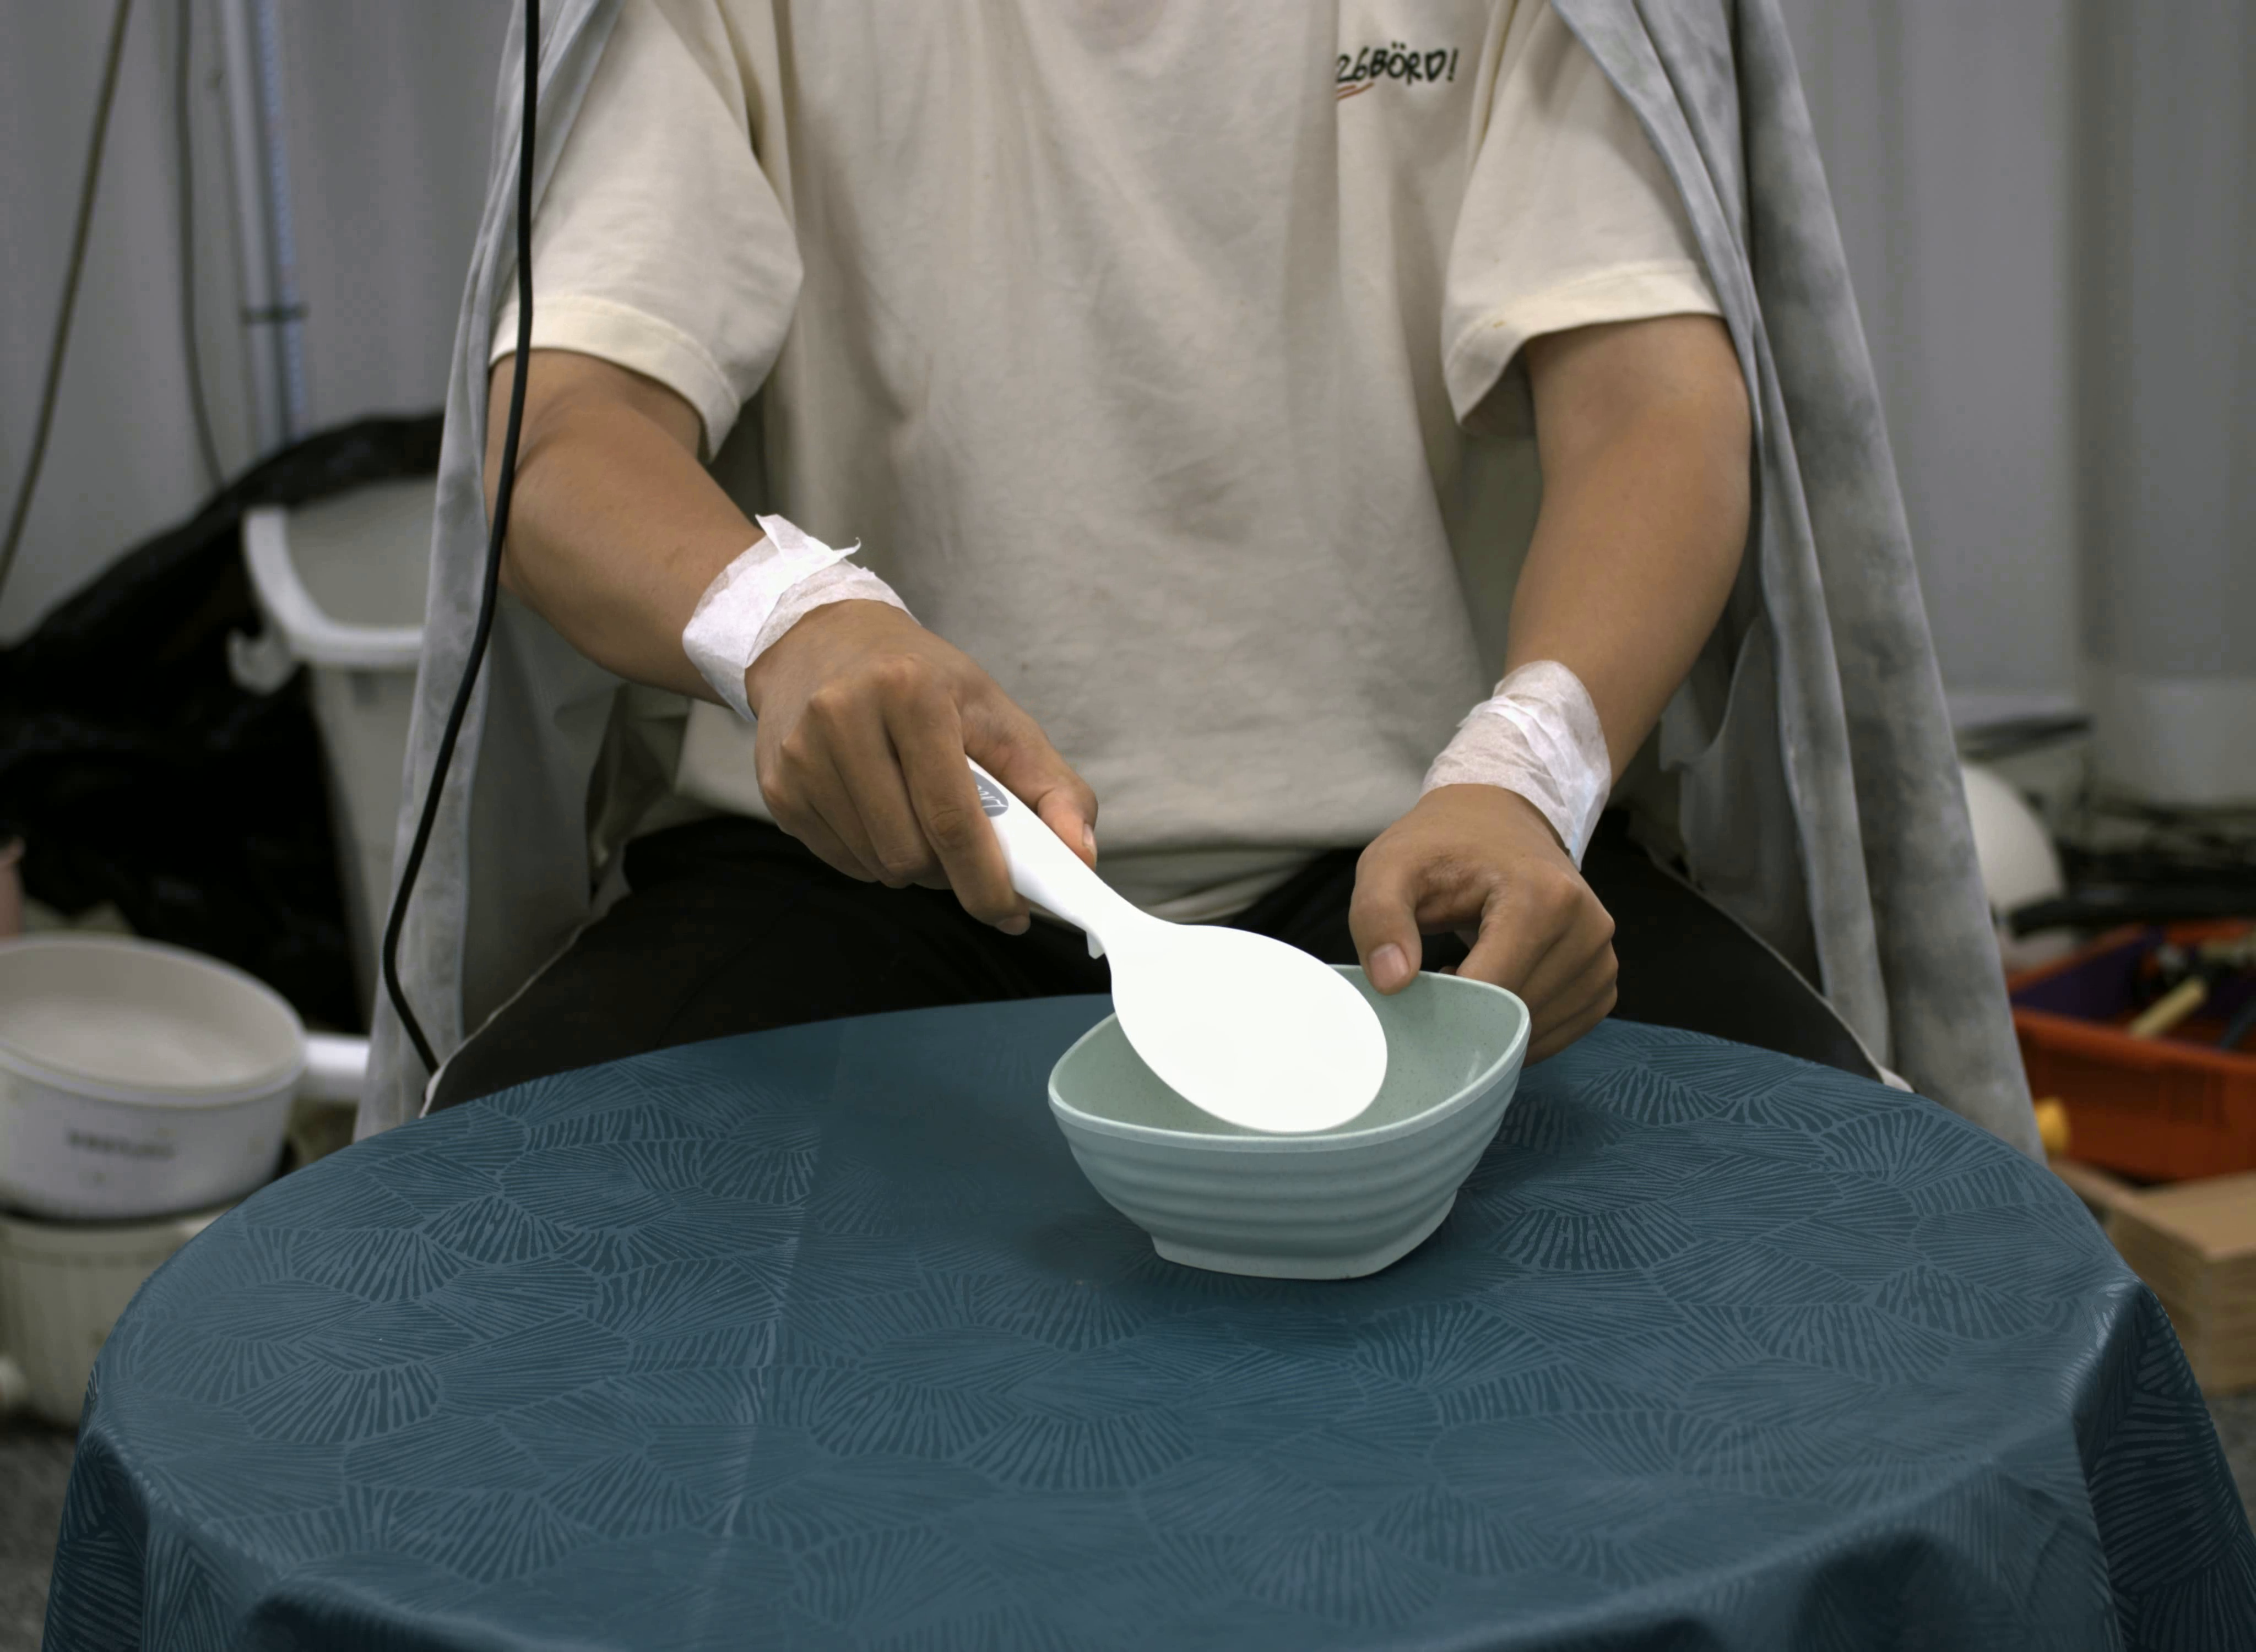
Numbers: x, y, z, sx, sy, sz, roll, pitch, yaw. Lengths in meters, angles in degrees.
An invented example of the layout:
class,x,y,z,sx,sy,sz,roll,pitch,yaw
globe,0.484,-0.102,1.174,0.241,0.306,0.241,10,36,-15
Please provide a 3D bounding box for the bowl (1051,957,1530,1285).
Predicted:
class,x,y,z,sx,sy,sz,roll,pitch,yaw
bowl,0.053,0.094,1.662,0.151,0.058,0.153,-7,21,2

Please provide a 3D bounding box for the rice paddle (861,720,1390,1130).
class,x,y,z,sx,sy,sz,roll,pitch,yaw
rice paddle,-0.002,0.030,1.682,0.069,0.029,0.207,-36,55,-28
